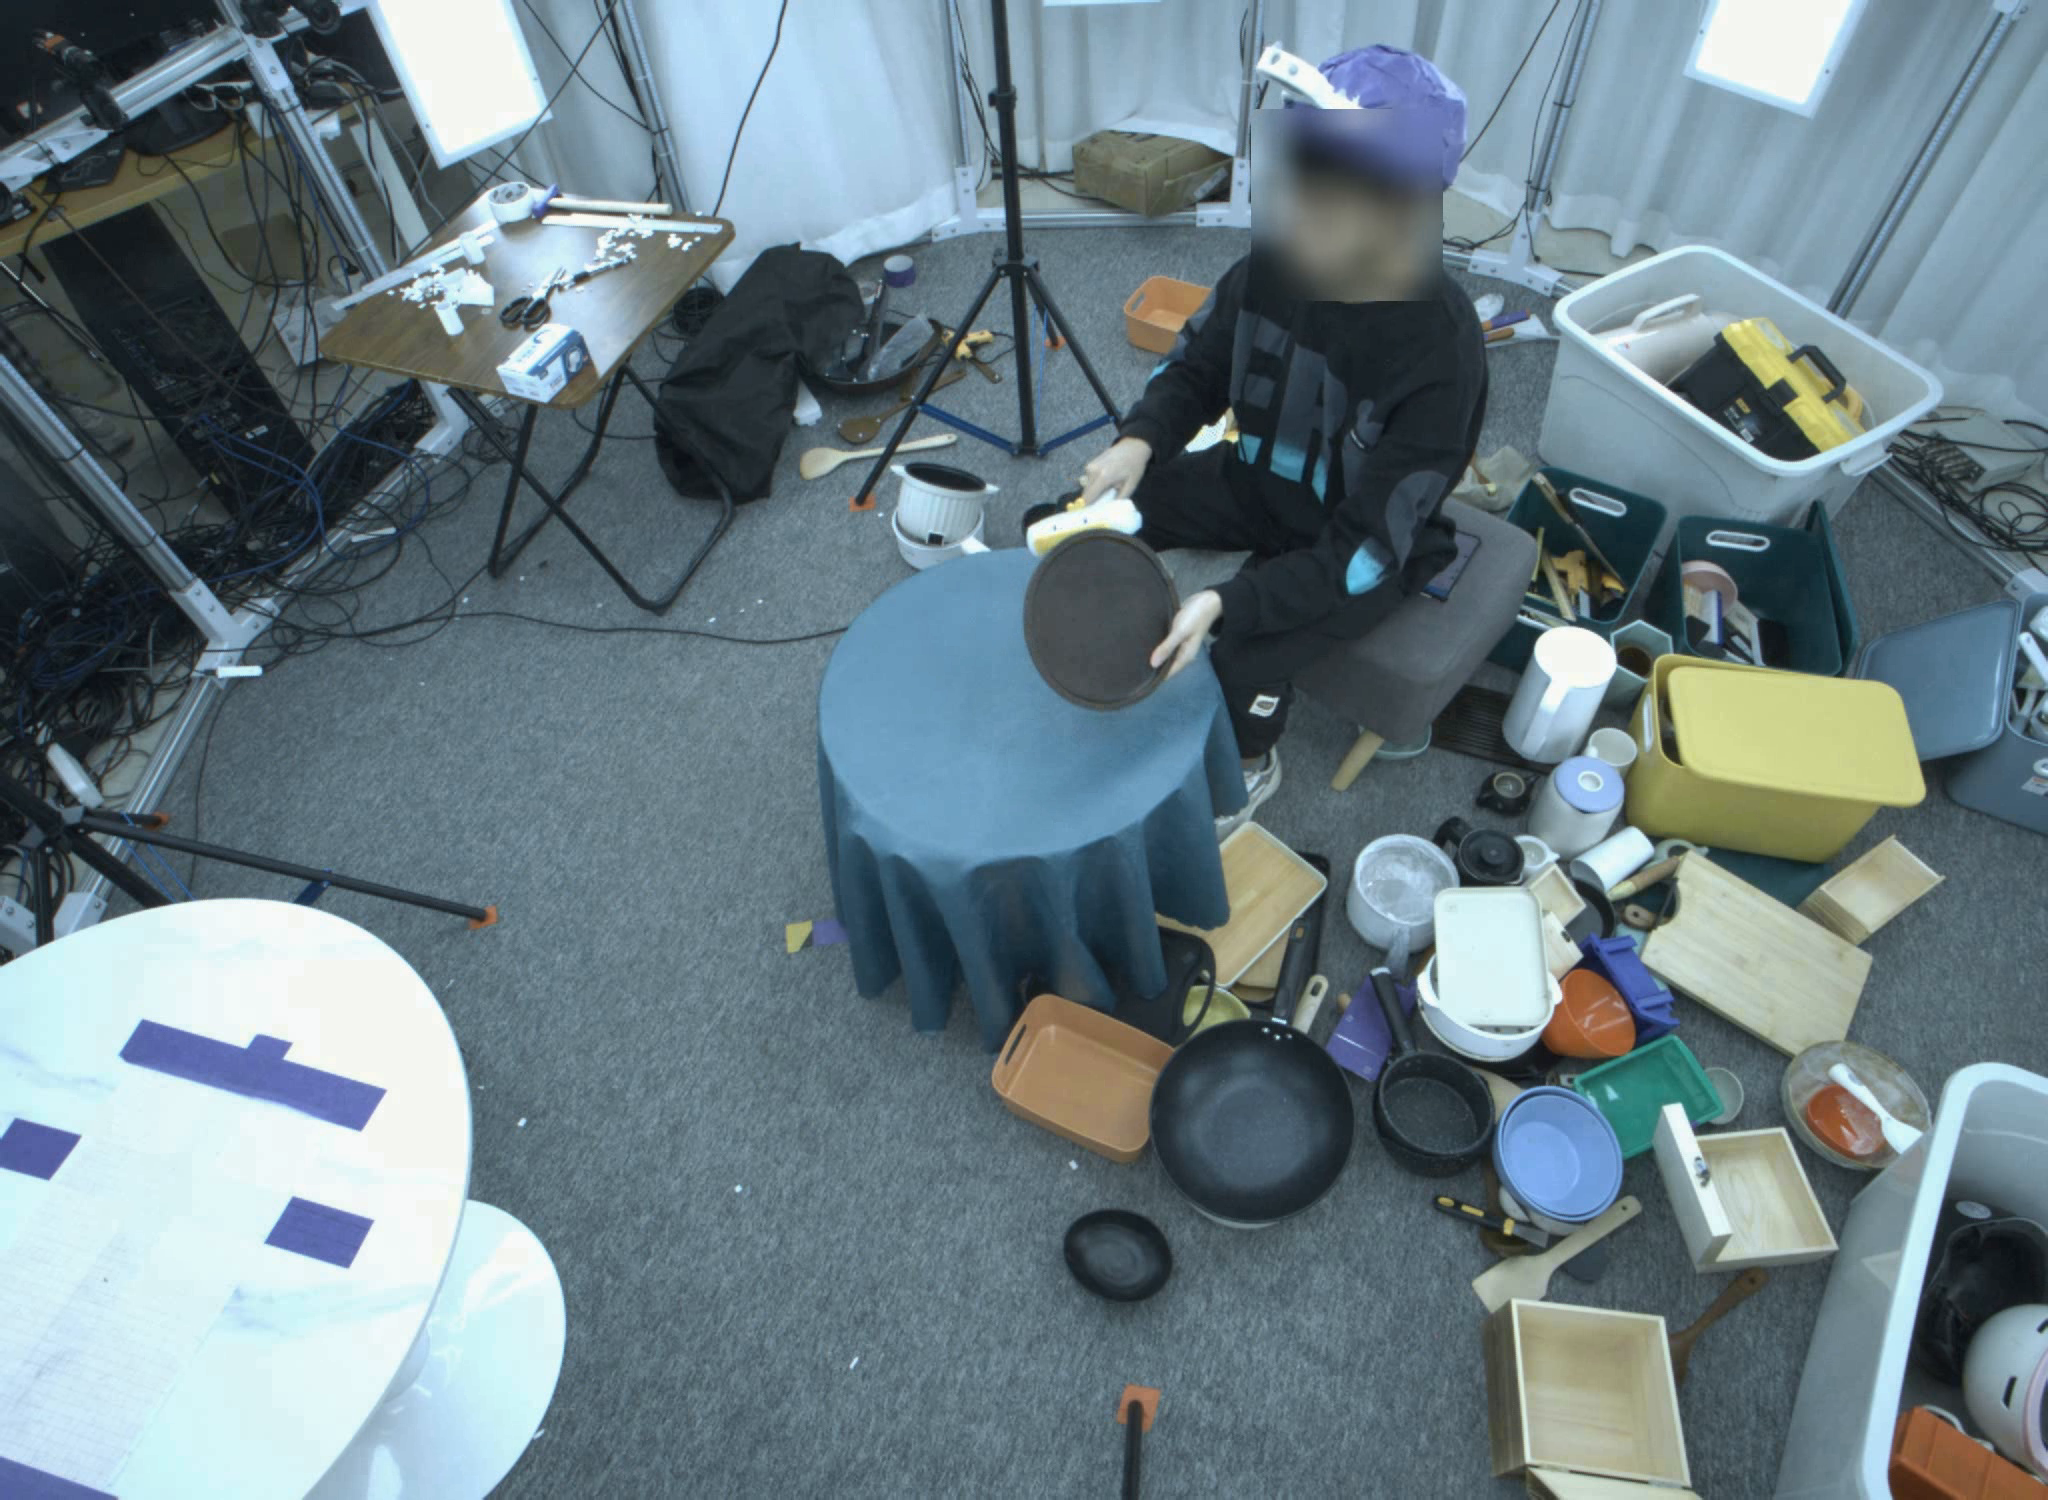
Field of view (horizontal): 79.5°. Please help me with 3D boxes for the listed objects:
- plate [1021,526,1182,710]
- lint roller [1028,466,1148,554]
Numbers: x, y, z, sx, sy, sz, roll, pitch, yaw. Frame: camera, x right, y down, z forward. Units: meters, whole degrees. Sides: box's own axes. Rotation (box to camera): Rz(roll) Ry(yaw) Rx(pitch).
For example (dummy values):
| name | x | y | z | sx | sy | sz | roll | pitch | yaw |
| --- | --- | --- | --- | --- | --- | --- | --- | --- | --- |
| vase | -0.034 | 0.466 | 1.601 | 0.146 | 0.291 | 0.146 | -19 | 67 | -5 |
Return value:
| name | x | y | z | sx | sy | sz | roll | pitch | yaw |
| --- | --- | --- | --- | --- | --- | --- | --- | --- | --- |
| plate | 0.108 | -0.183 | 1.705 | 0.256 | 0.258 | 0.028 | -38 | 19 | -22 |
| lint roller | 0.113 | -0.373 | 1.872 | 0.189 | 0.075 | 0.193 | -11 | 28 | 36 |
